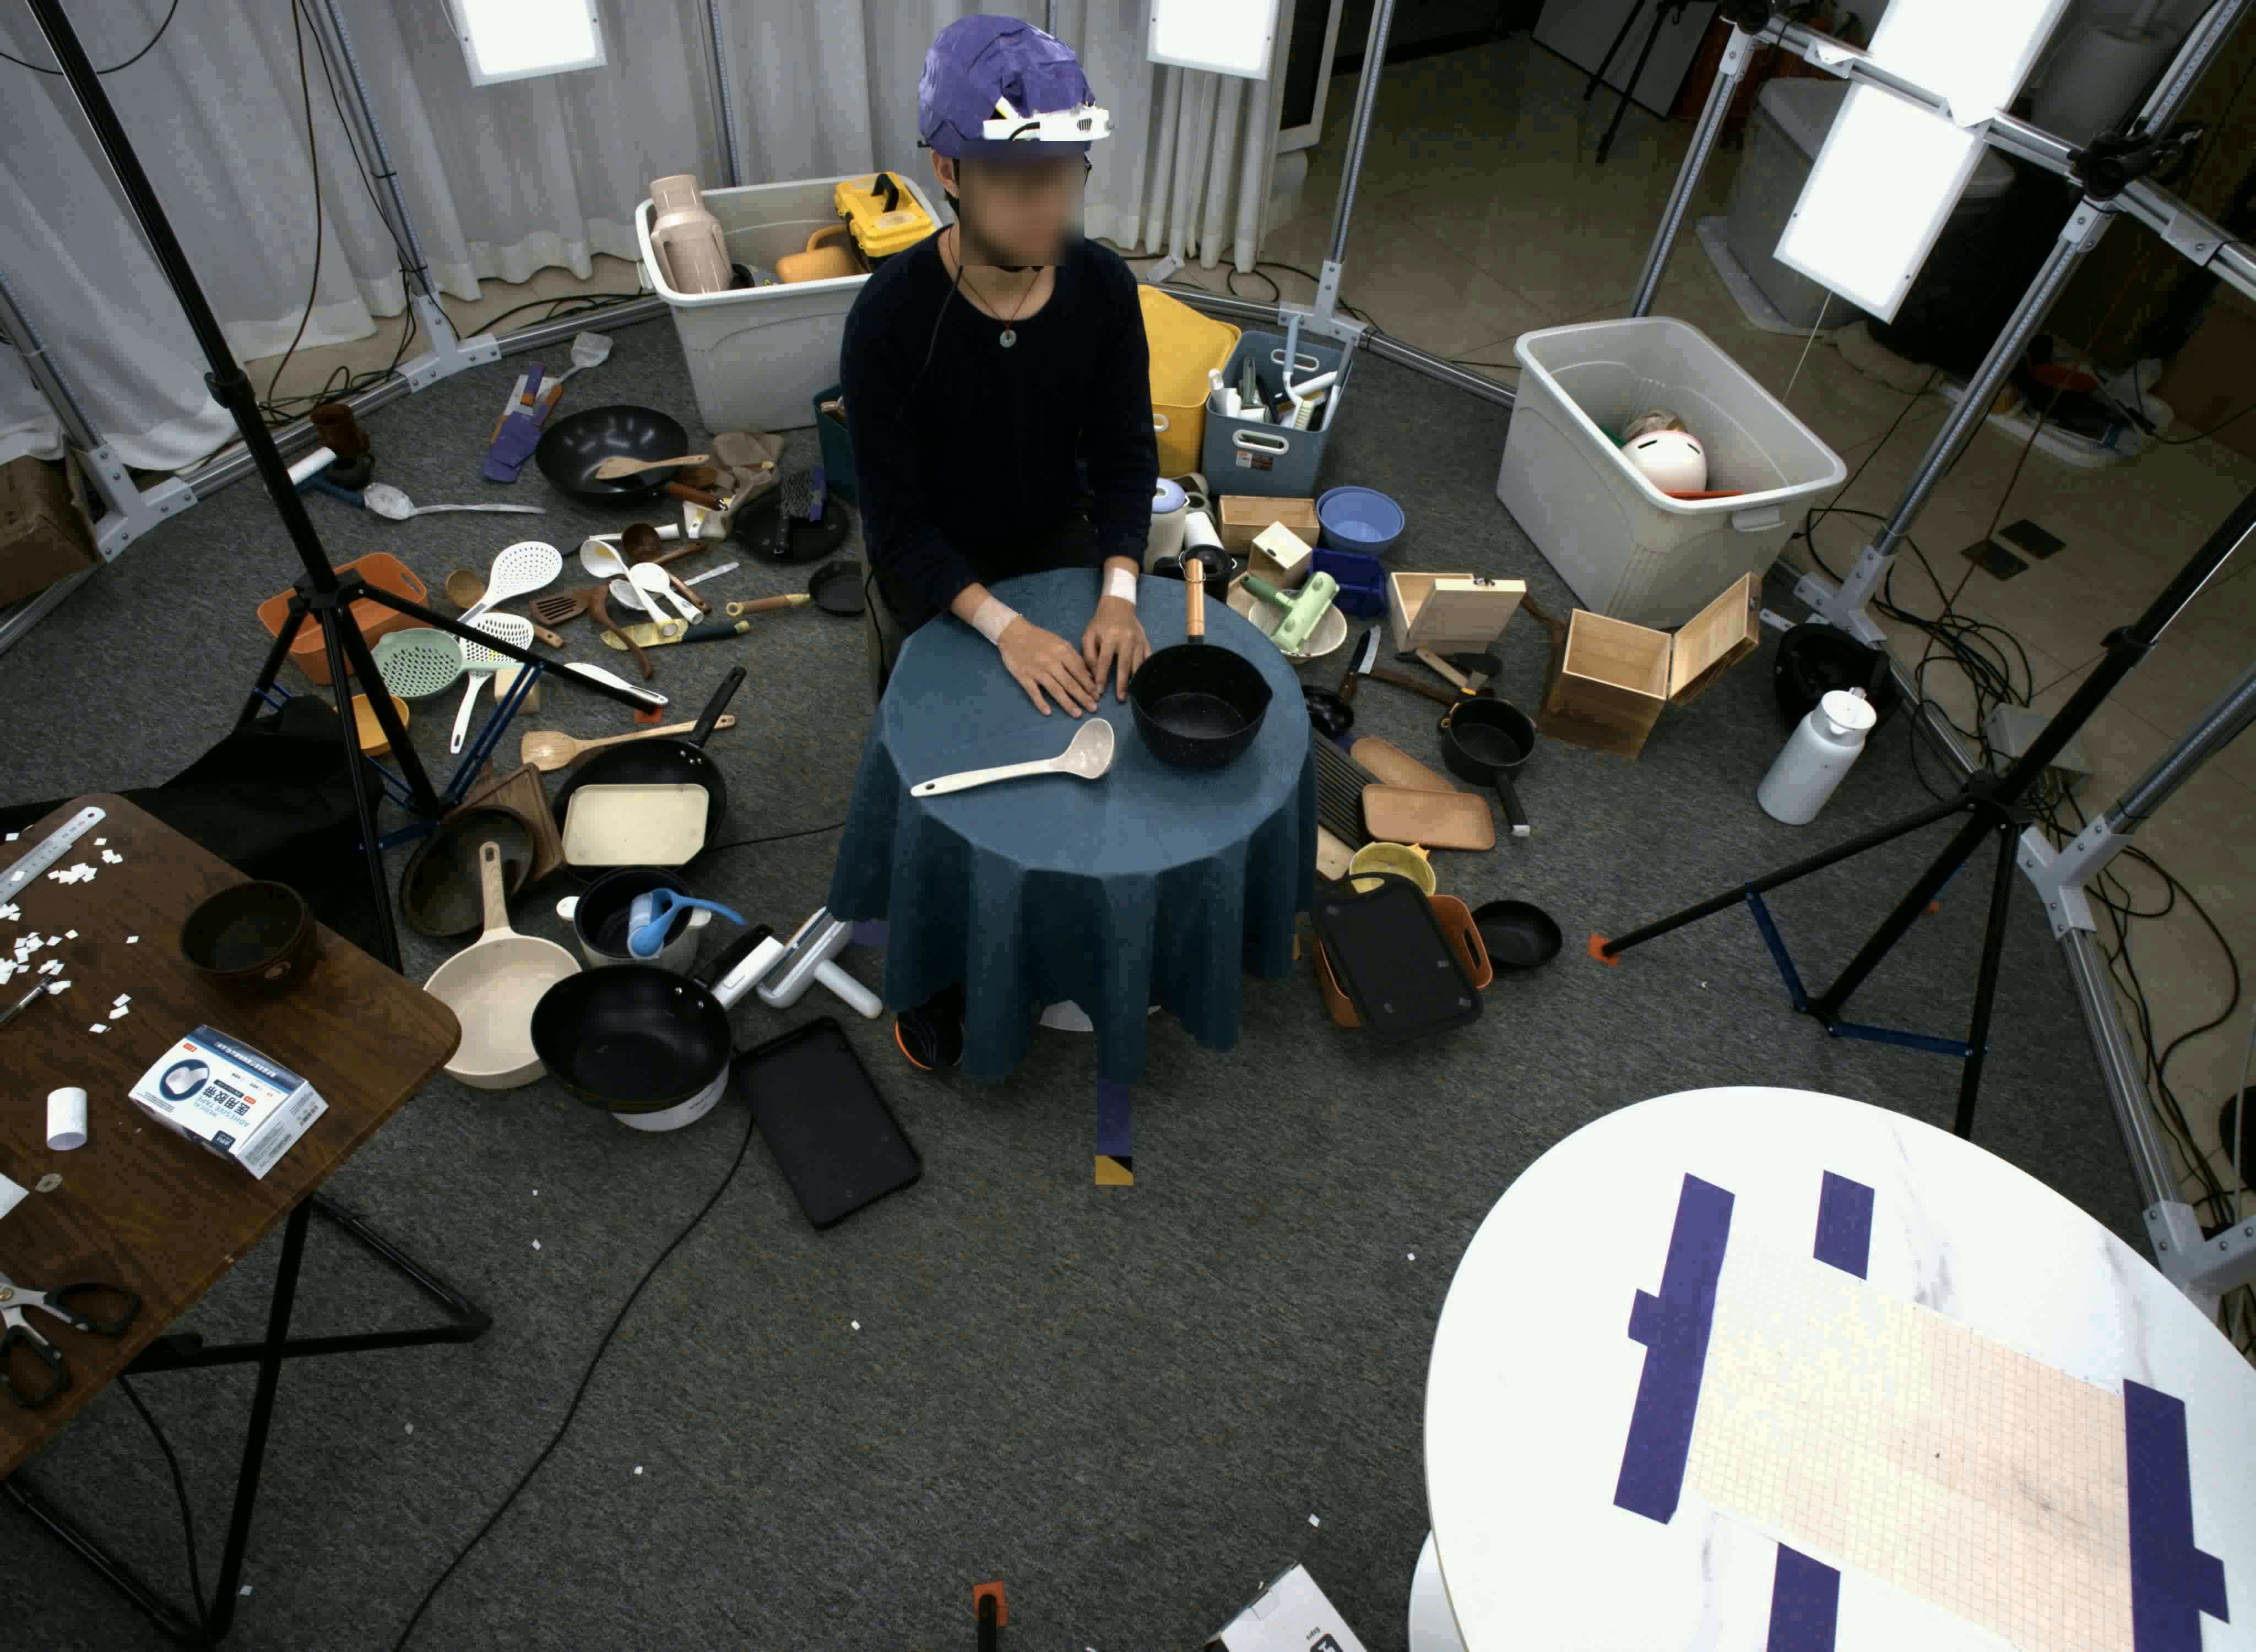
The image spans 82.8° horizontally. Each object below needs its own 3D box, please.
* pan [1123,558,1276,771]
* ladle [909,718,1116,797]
[{"bbox_3d":[0.093,-0.227,1.802,0.207,0.105,0.351,0,50,-2],"label":"pan"},{"bbox_3d":[-0.151,-0.085,1.689,0.274,0.068,0.091,-10,57,-12],"label":"ladle"}]
